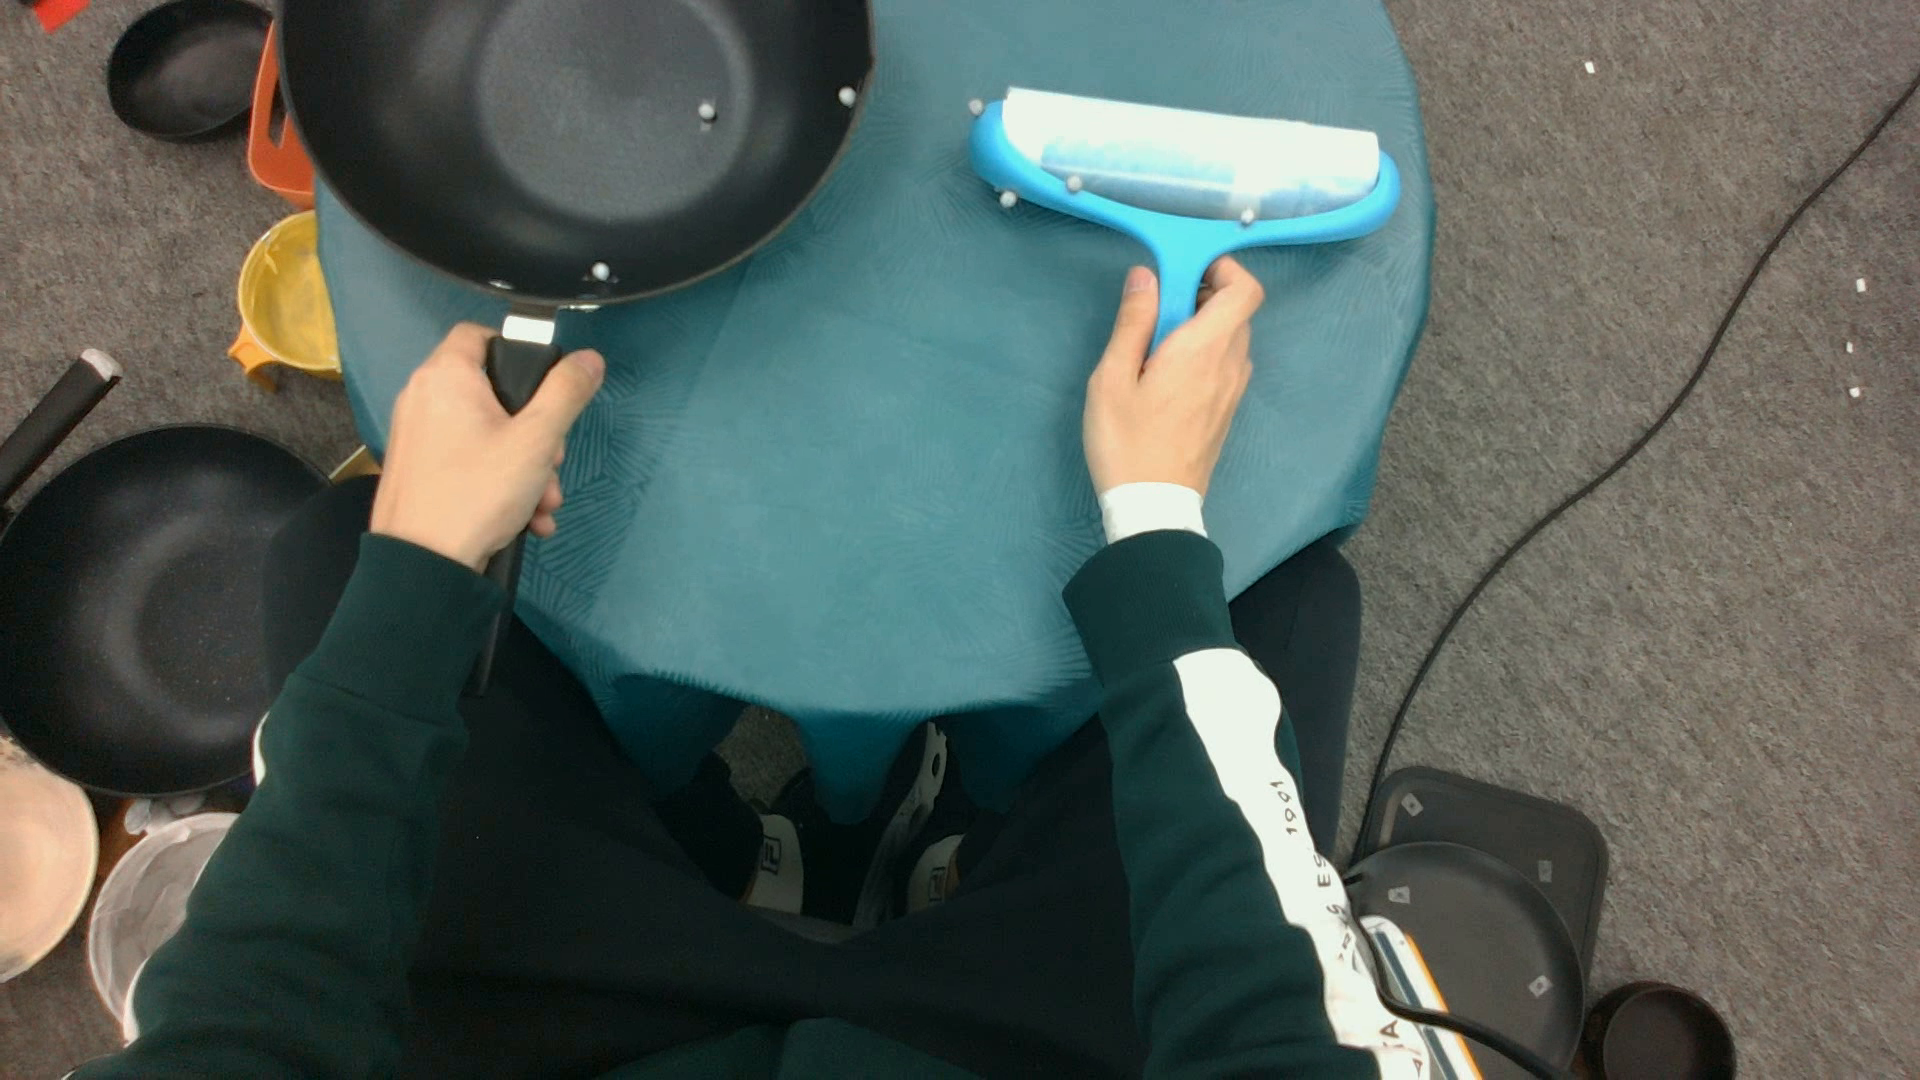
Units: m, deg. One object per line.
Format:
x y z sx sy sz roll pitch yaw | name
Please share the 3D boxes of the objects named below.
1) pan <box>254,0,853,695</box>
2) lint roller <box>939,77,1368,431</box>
-0.207 -0.154 0.686 0.288 0.087 0.464 7 83 -1 | pan
0.101 -0.151 0.717 0.229 0.068 0.180 3 77 -5 | lint roller
